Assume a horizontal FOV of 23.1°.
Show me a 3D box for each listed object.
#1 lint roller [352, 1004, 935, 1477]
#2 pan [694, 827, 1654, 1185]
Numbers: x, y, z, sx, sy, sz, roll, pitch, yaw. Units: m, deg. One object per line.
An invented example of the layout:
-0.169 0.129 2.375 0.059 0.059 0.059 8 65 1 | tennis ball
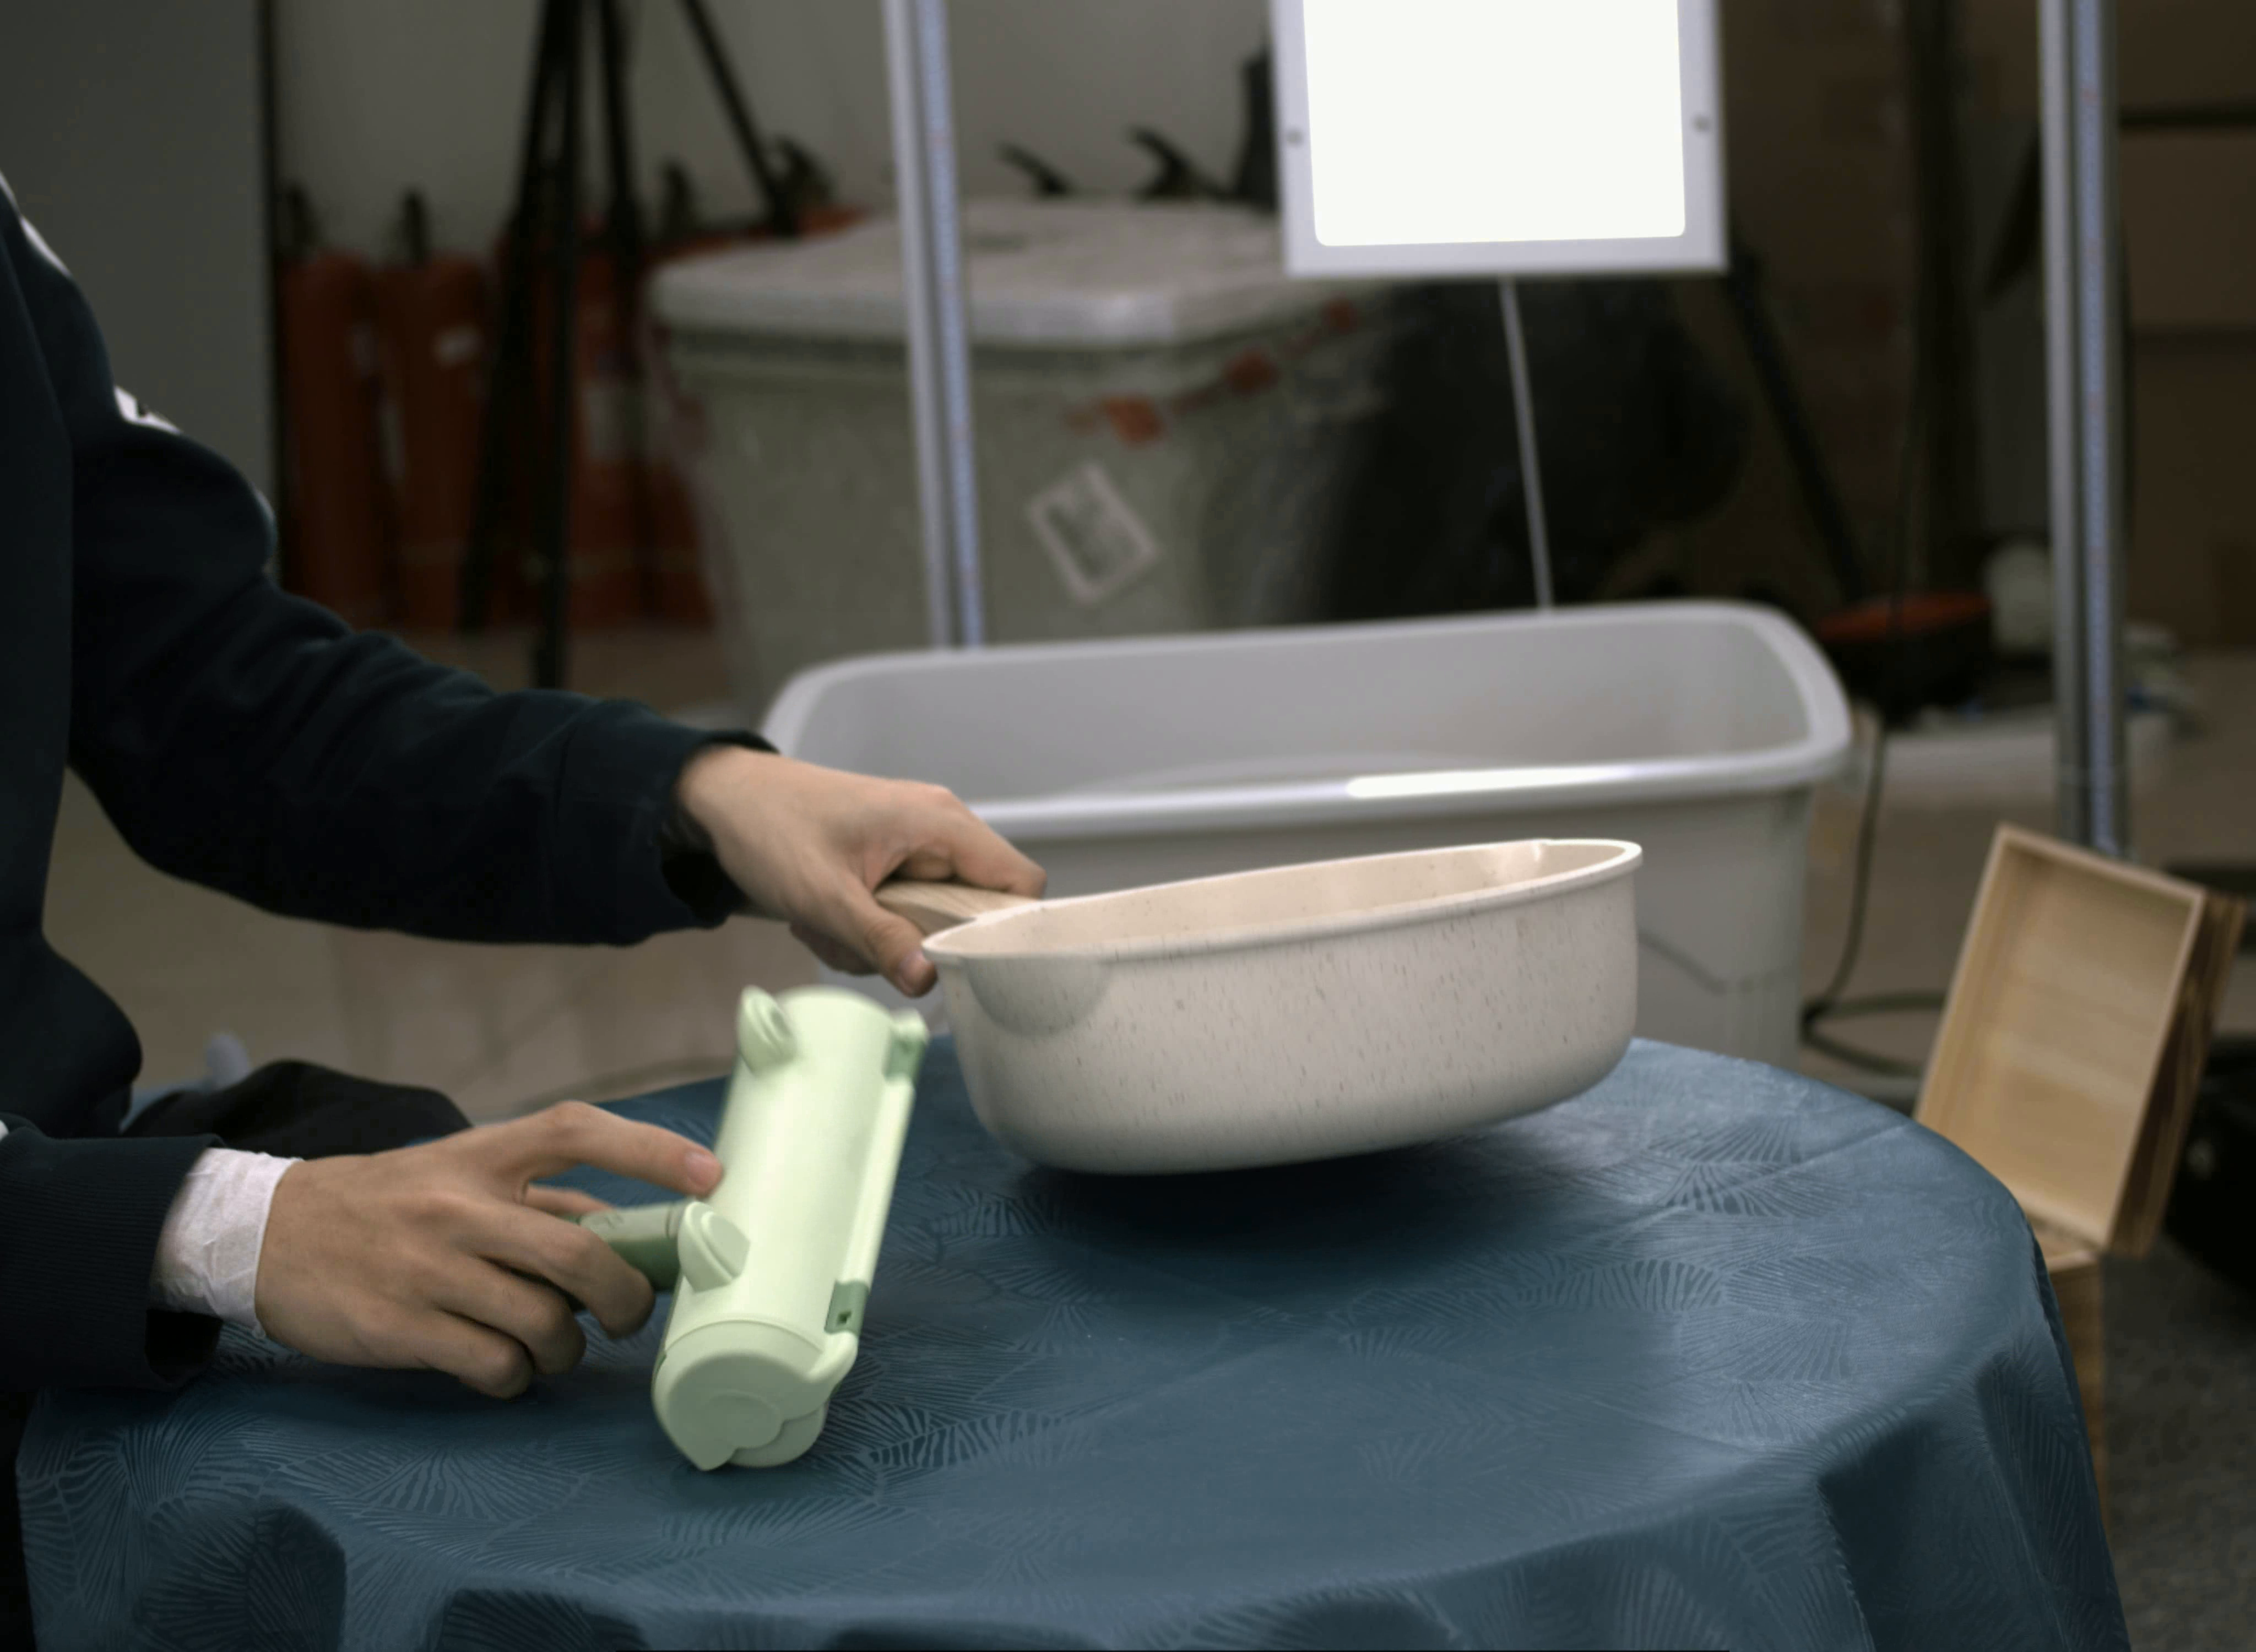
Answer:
-0.162 0.125 1.734 0.184 0.082 0.197 -4 29 11 | lint roller
-0.001 0.060 1.961 0.256 0.102 0.445 -14 7 -42 | pan
